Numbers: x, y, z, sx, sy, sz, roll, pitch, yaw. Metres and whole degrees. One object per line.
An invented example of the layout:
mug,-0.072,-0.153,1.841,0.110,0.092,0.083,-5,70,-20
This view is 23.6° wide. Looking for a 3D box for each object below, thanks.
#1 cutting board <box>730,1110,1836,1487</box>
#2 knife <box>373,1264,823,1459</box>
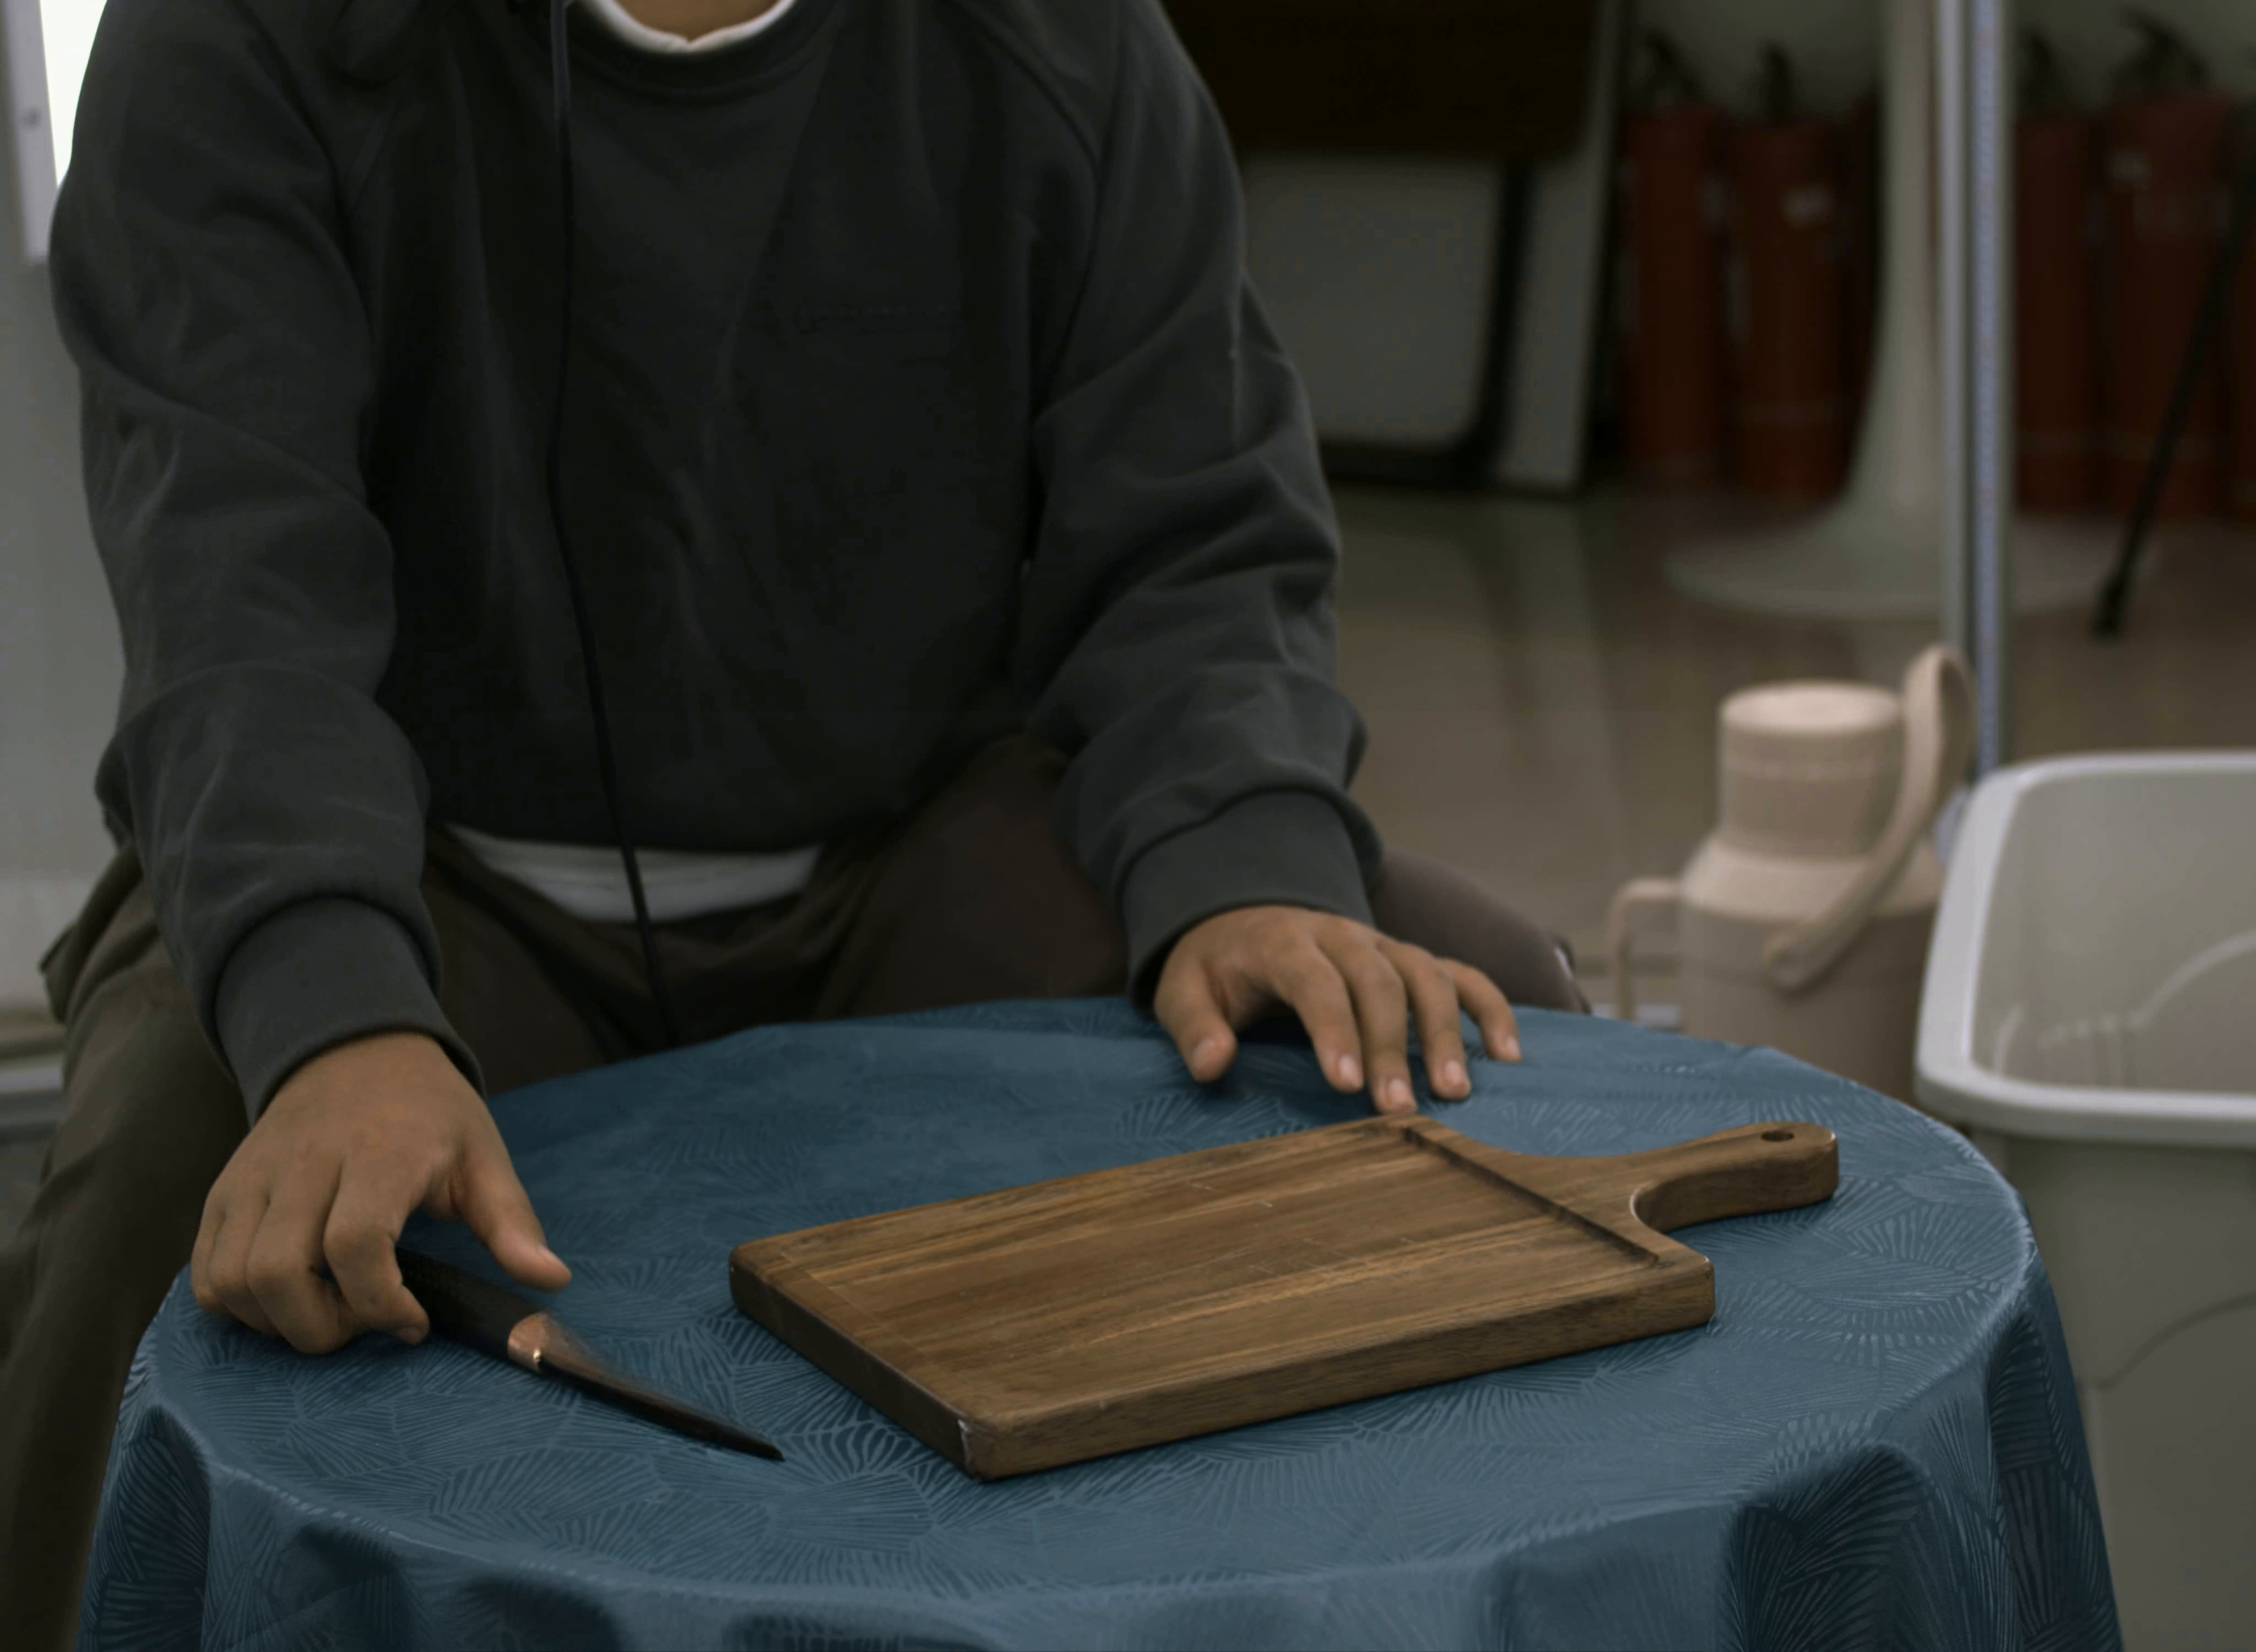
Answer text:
cutting board,0.071,0.132,1.666,0.344,0.023,0.203,-10,15,-24
knife,-0.163,0.163,1.632,0.025,0.017,0.228,-6,13,-38
